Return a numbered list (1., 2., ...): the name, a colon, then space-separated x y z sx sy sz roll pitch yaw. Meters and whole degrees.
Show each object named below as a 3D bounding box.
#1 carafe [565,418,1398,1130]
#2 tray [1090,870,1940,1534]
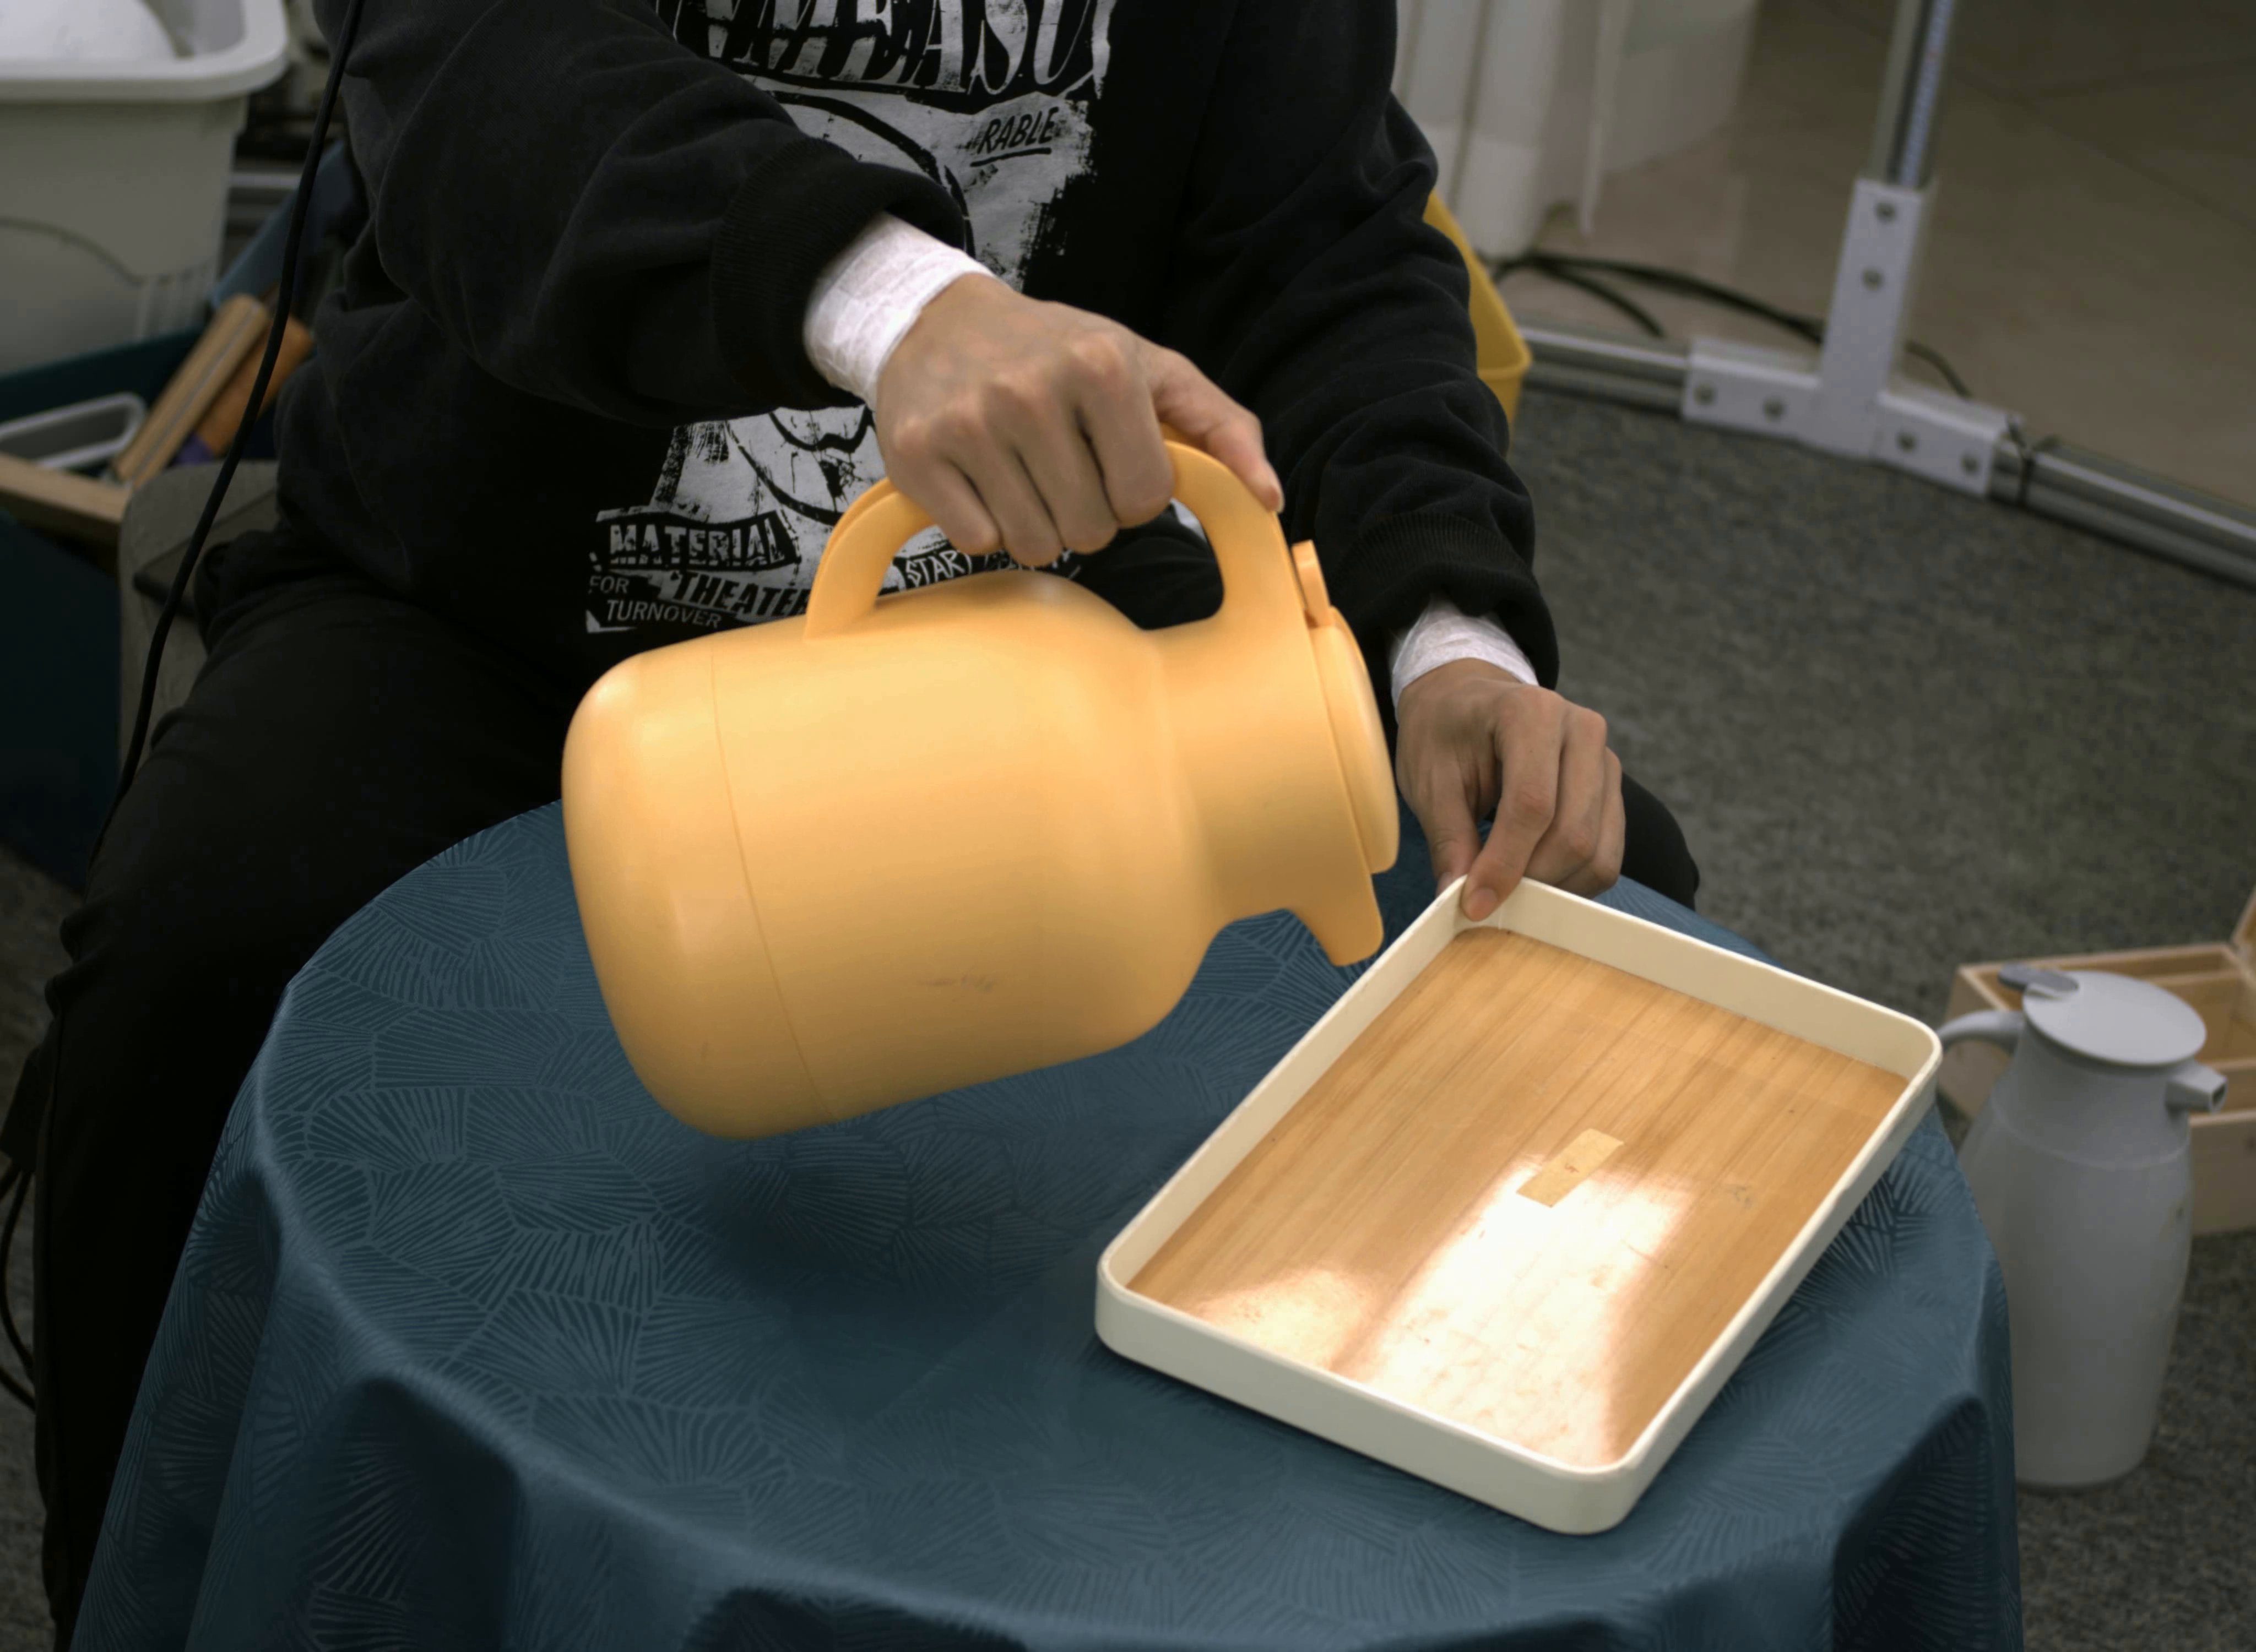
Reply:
1. carafe: -0.048 -0.020 1.713 0.260 0.202 0.164 -12 15 1
2. tray: 0.134 0.118 1.783 0.192 0.027 0.300 20 35 22
